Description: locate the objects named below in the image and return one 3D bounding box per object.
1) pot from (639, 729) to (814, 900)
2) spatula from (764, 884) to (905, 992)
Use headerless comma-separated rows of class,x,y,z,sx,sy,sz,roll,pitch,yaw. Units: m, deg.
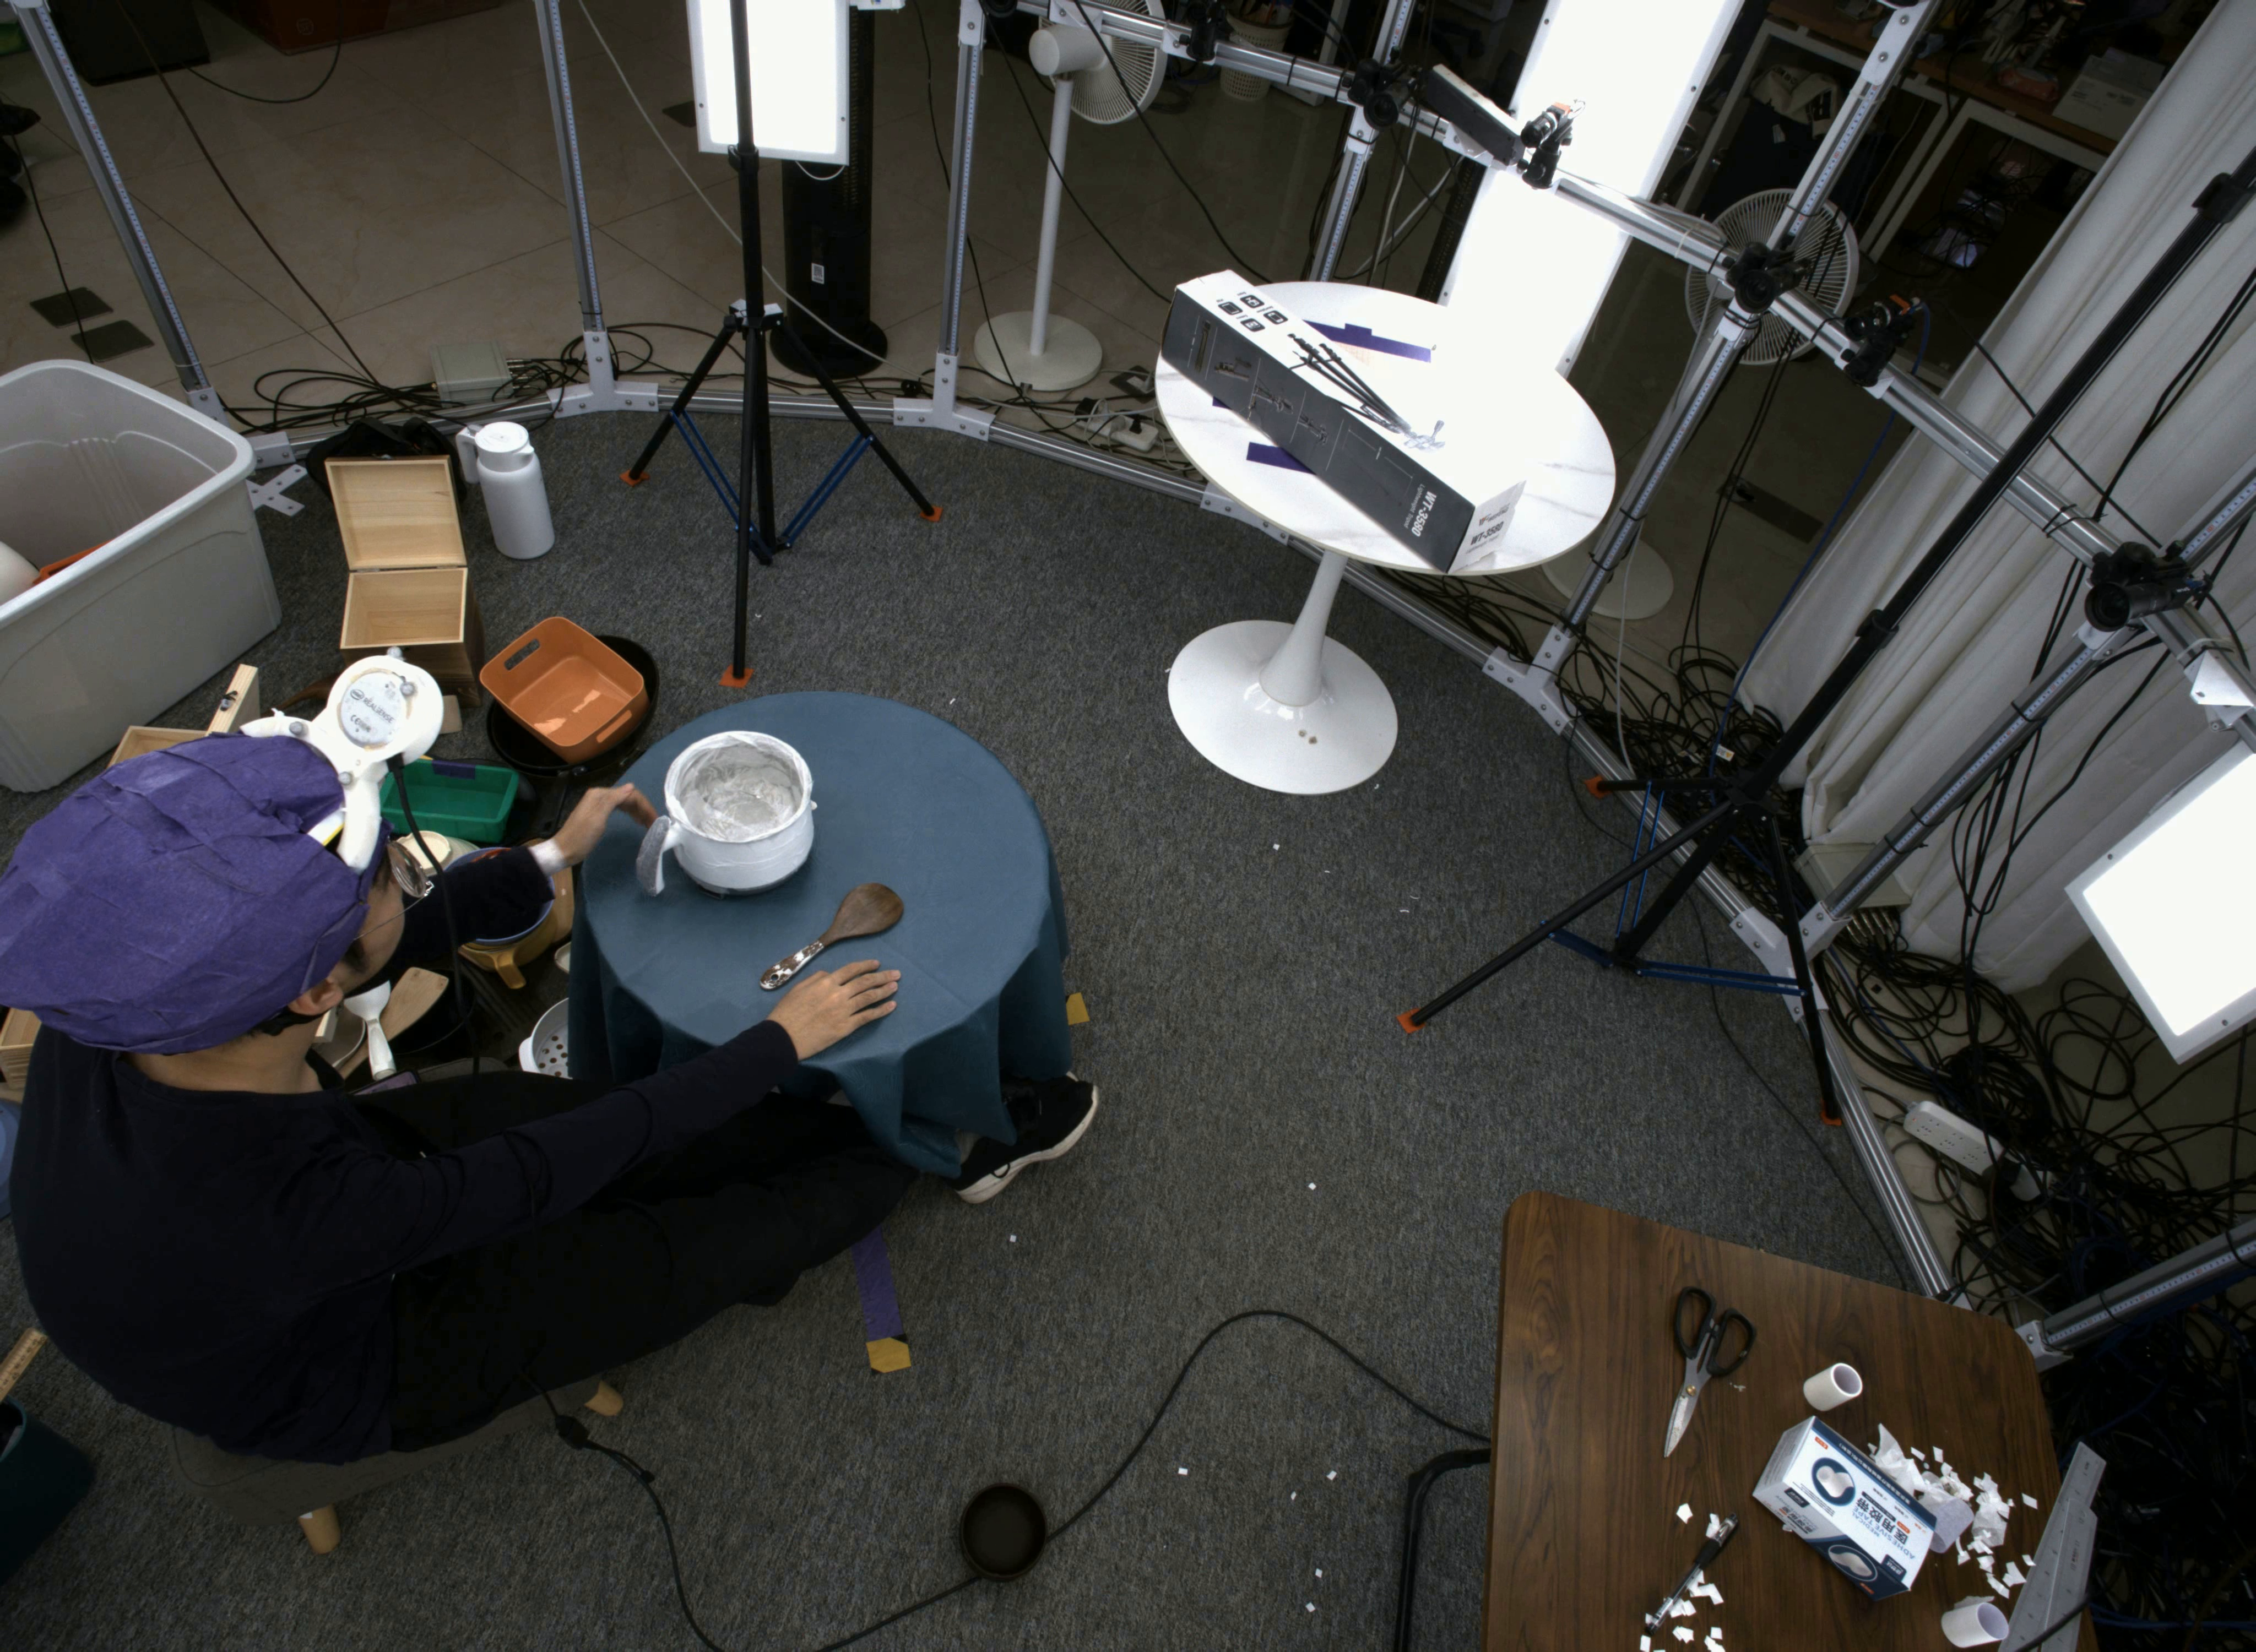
pot,-0.509,-0.002,1.624,0.234,0.140,0.174,-33,63,-33
spatula,-0.375,0.140,1.641,0.070,0.009,0.216,40,56,18
